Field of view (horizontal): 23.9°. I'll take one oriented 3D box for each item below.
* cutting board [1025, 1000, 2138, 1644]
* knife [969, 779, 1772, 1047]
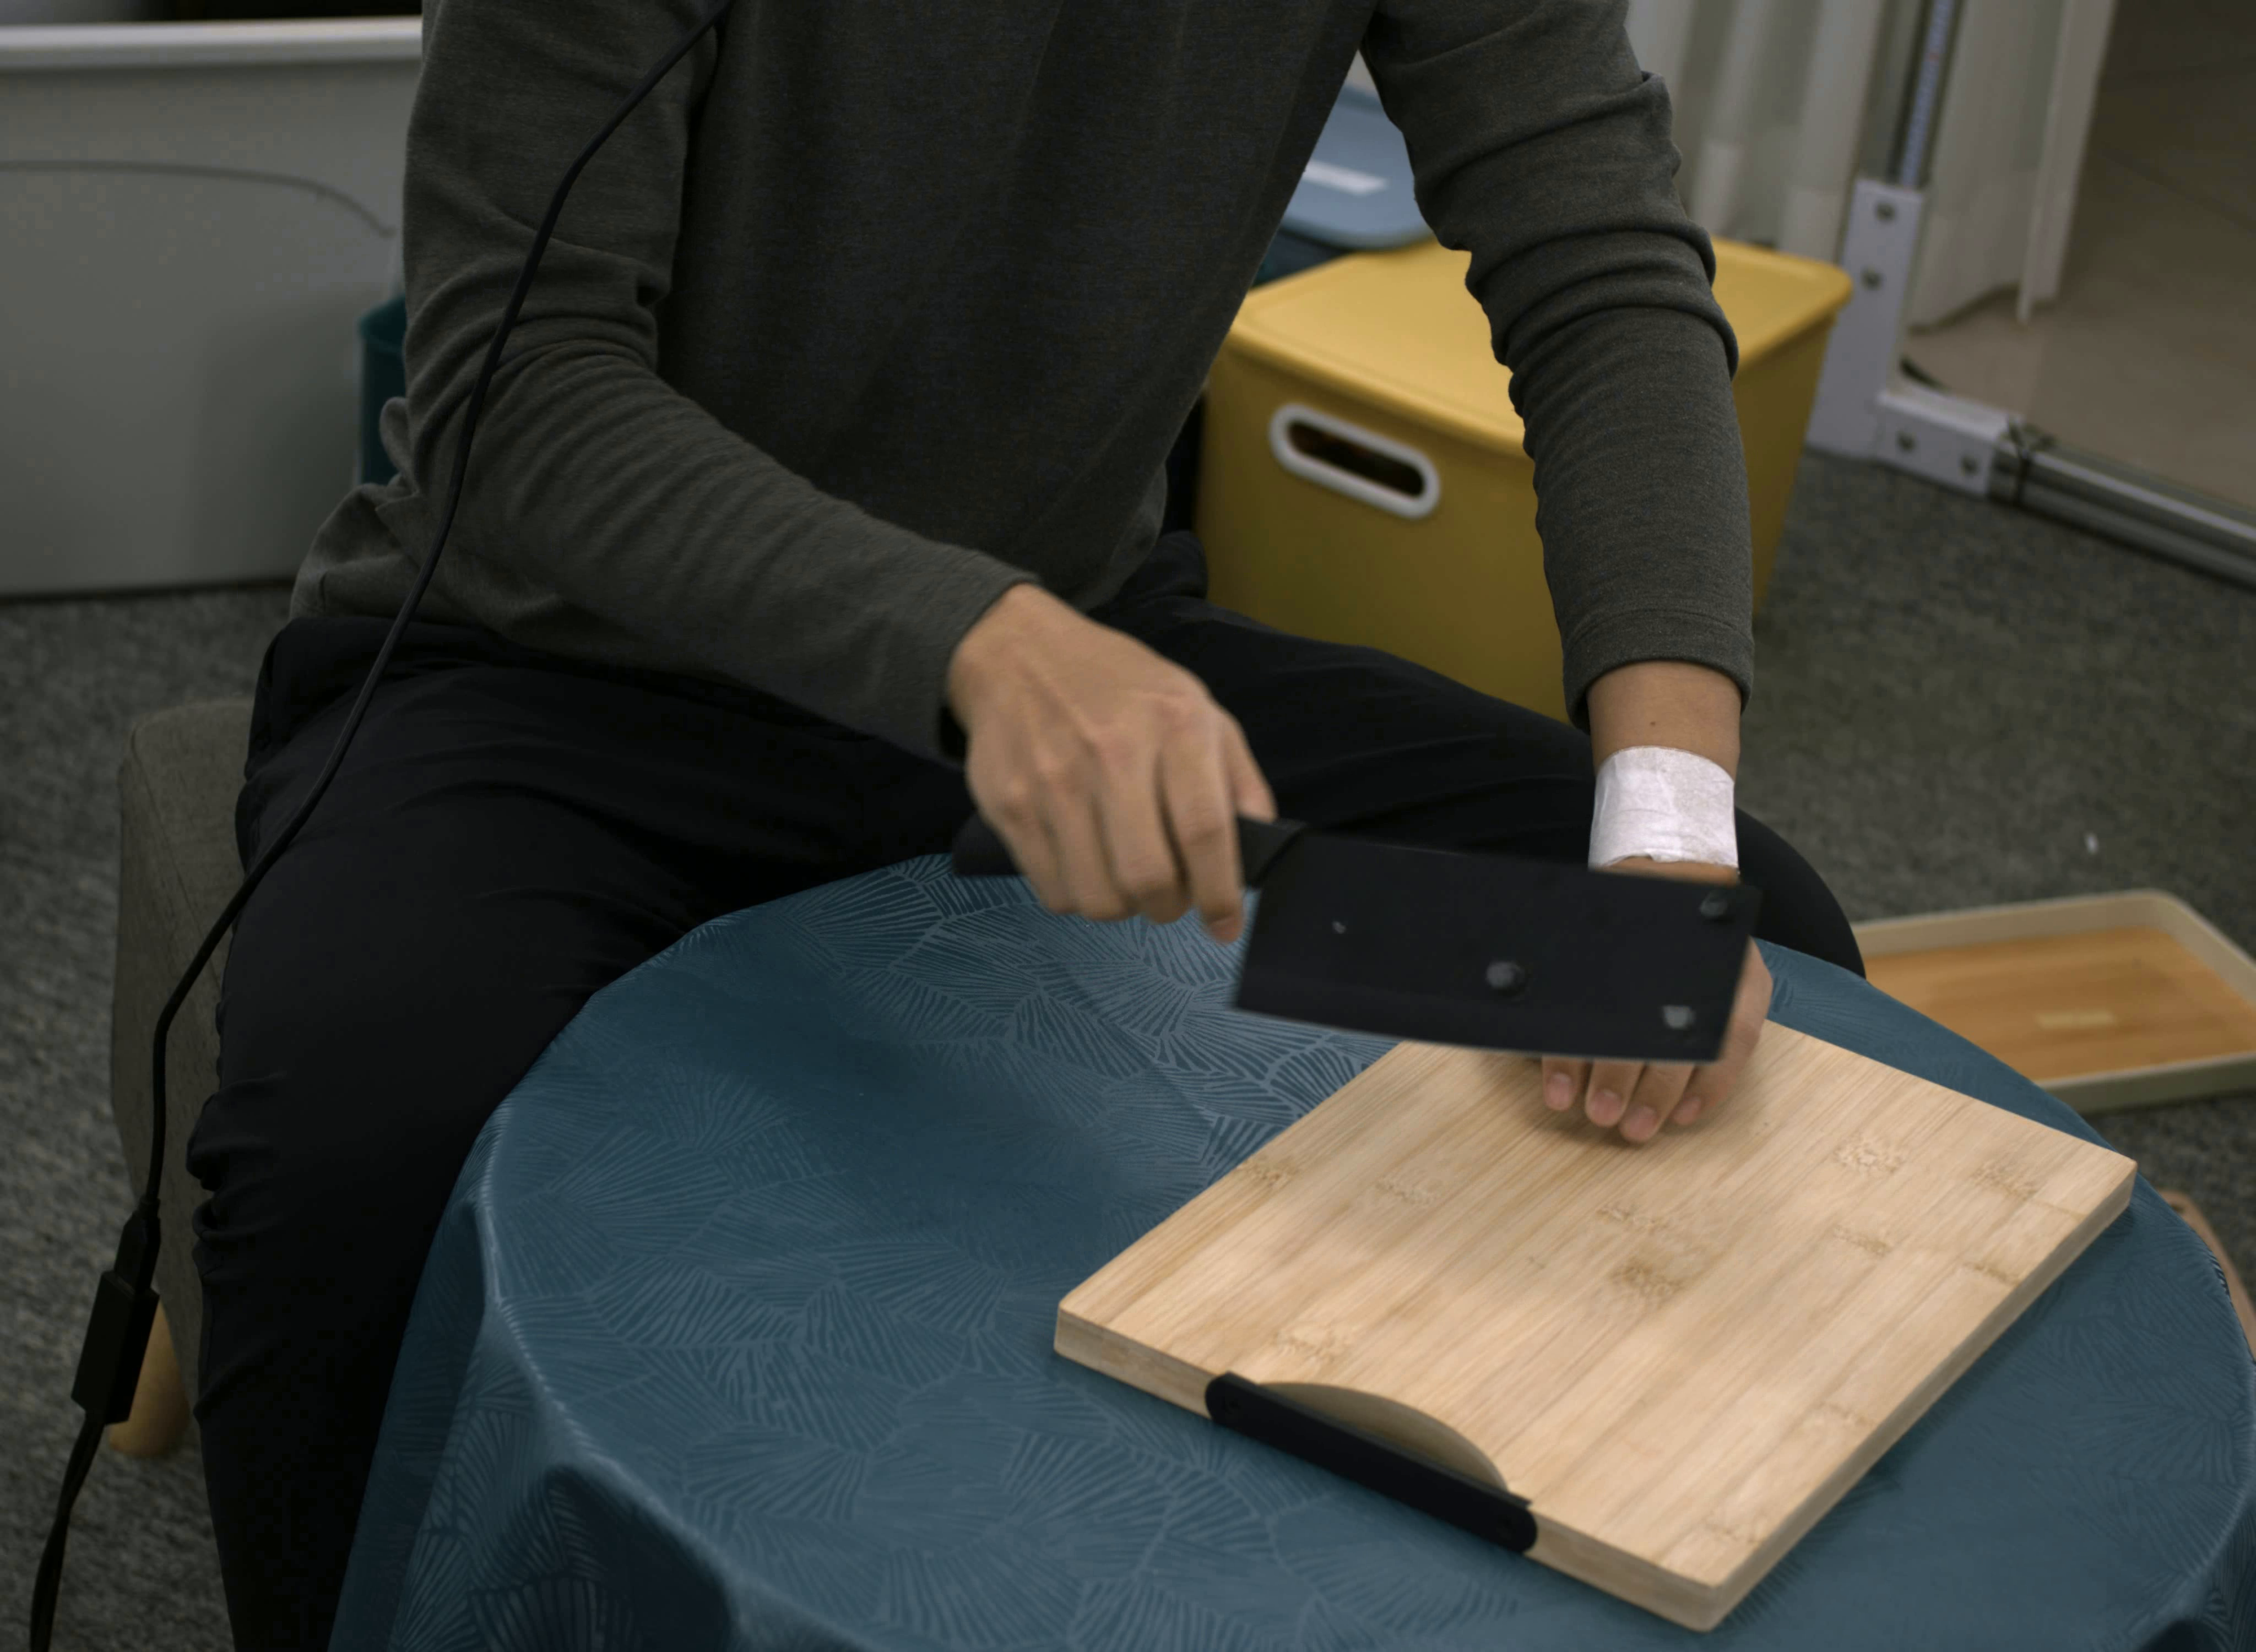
[{"bbox_3d":[0.161,0.145,1.782,0.252,0.023,0.348,20,29,26],"label":"cutting board"},{"bbox_3d":[0.075,0.026,1.769,0.304,0.081,0.020,12,-9,33],"label":"knife"}]
